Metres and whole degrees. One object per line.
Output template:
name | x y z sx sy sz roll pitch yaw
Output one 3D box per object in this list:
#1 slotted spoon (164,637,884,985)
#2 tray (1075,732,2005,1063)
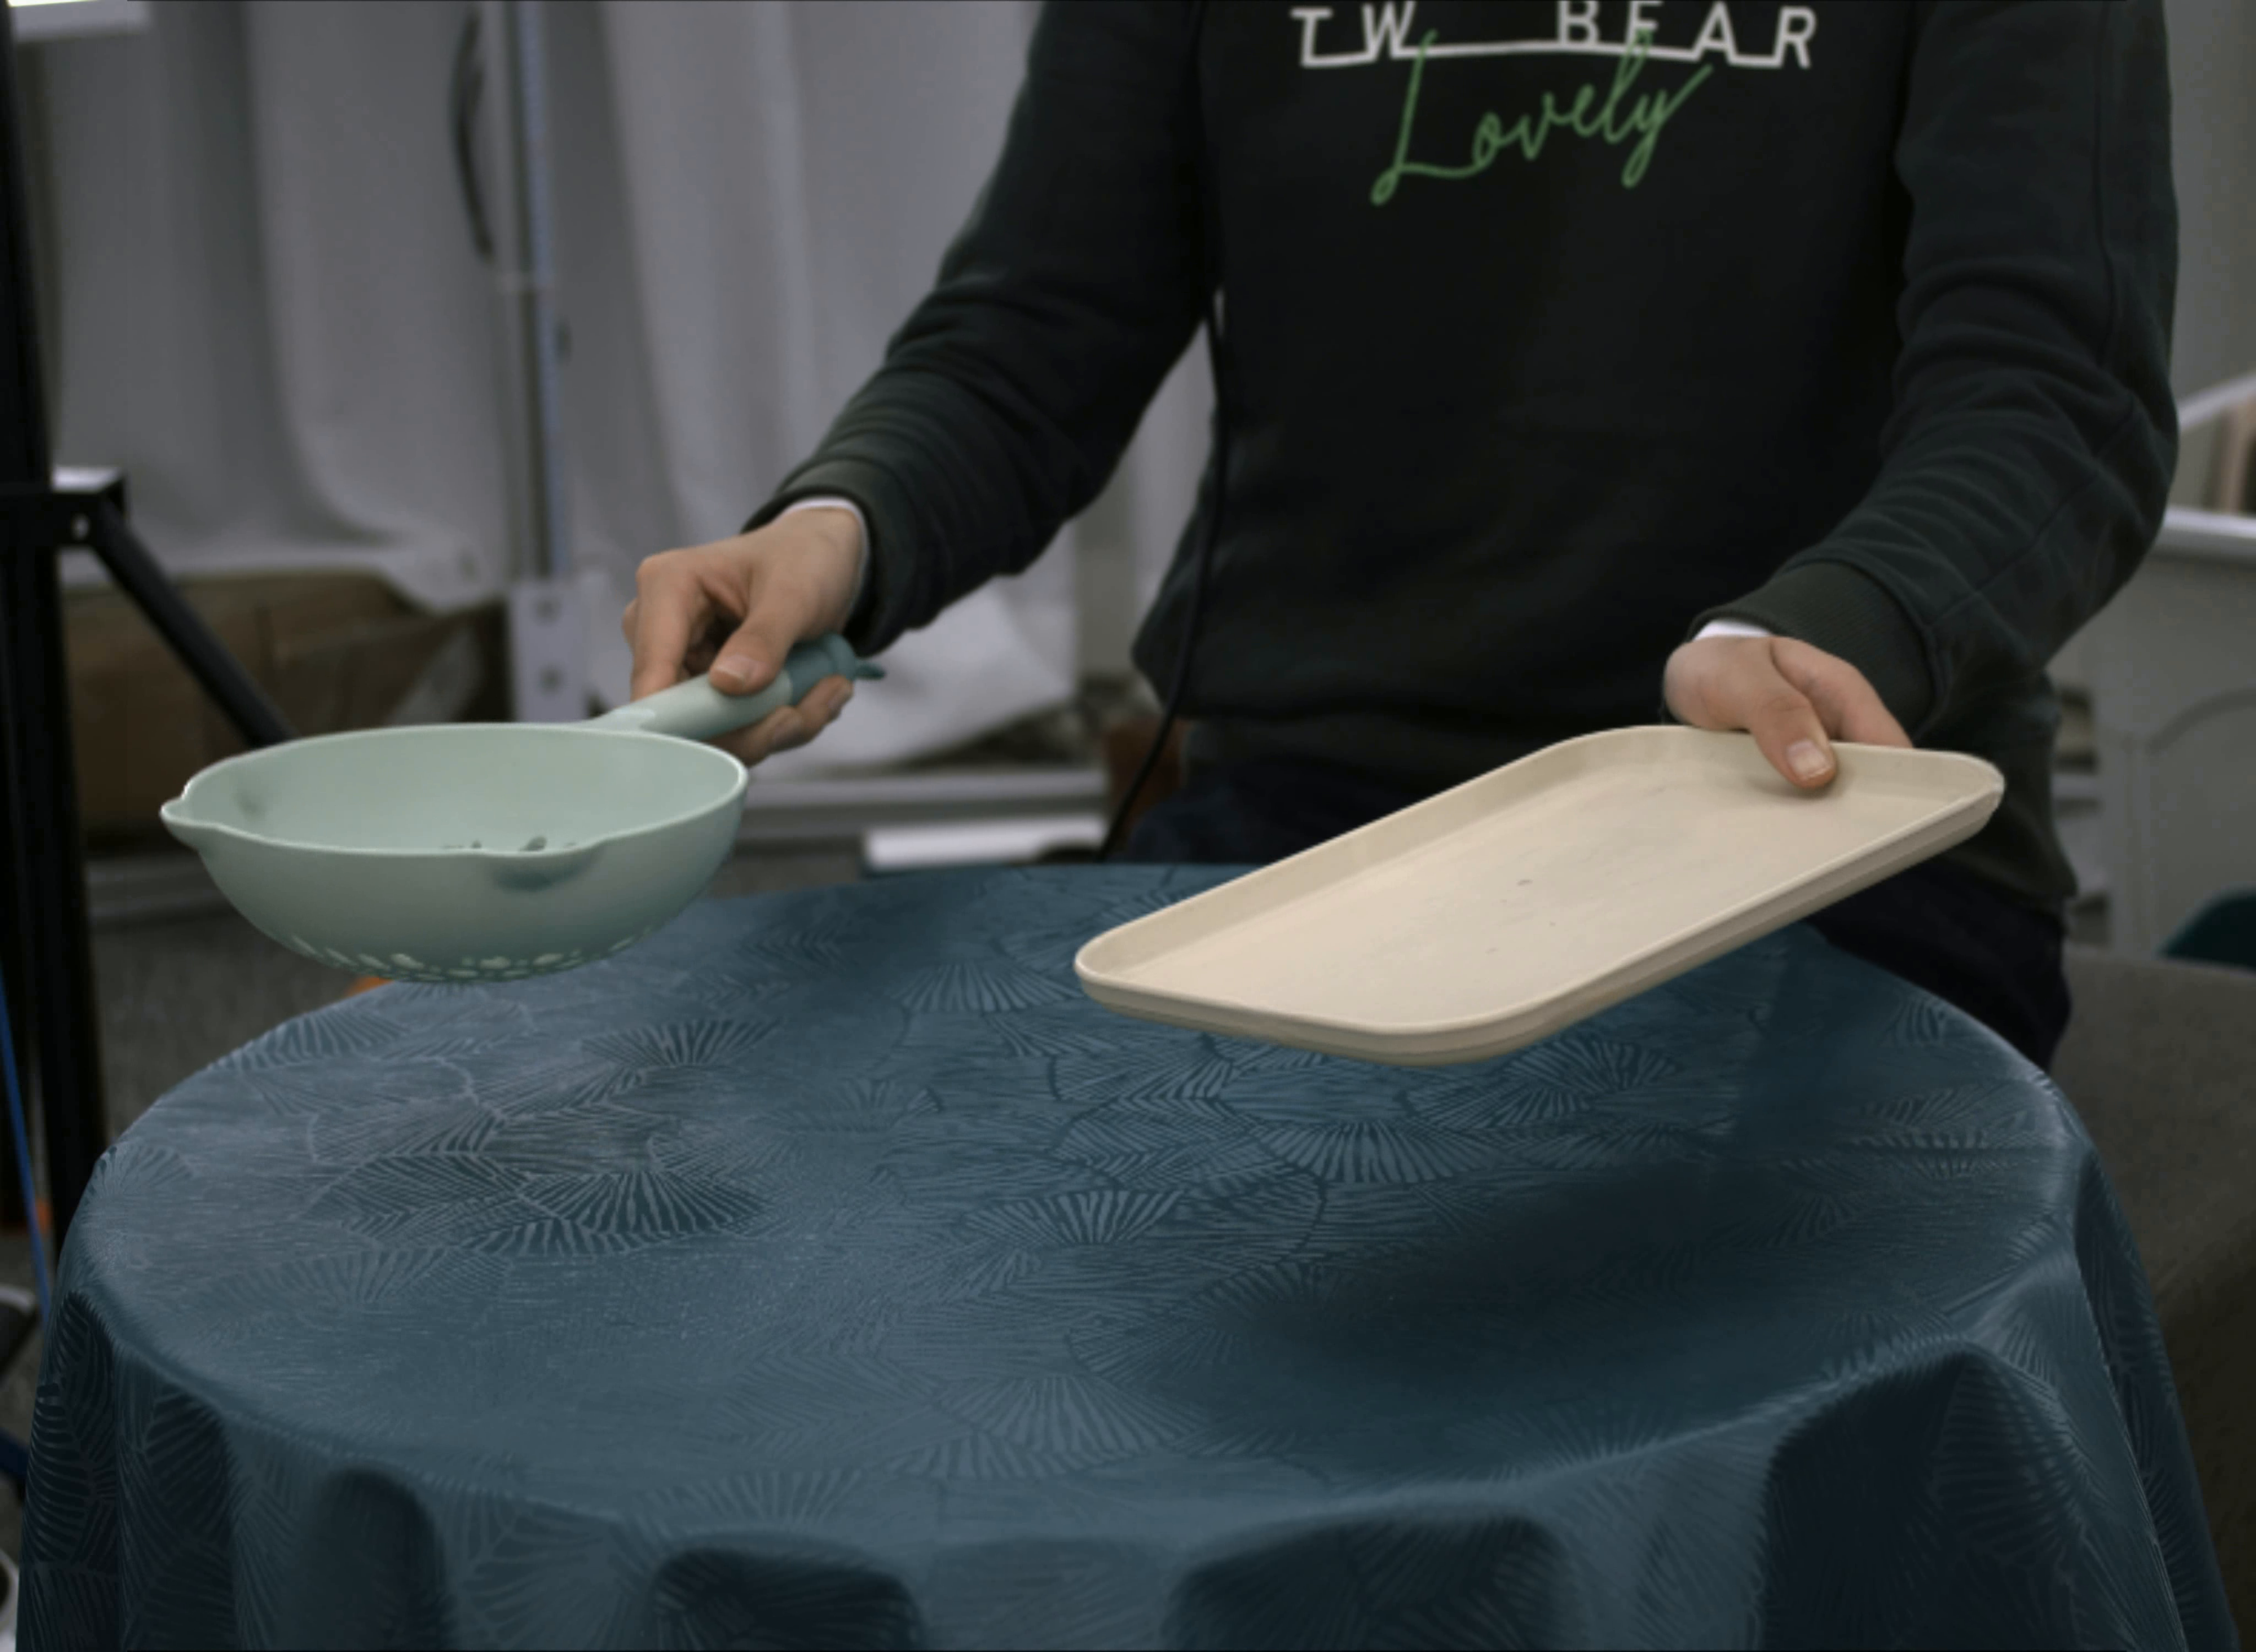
slotted spoon | -0.160 -0.021 1.691 0.171 0.075 0.354 7 23 22
tray | 0.116 0.019 1.470 0.234 0.017 0.175 -21 18 -37
